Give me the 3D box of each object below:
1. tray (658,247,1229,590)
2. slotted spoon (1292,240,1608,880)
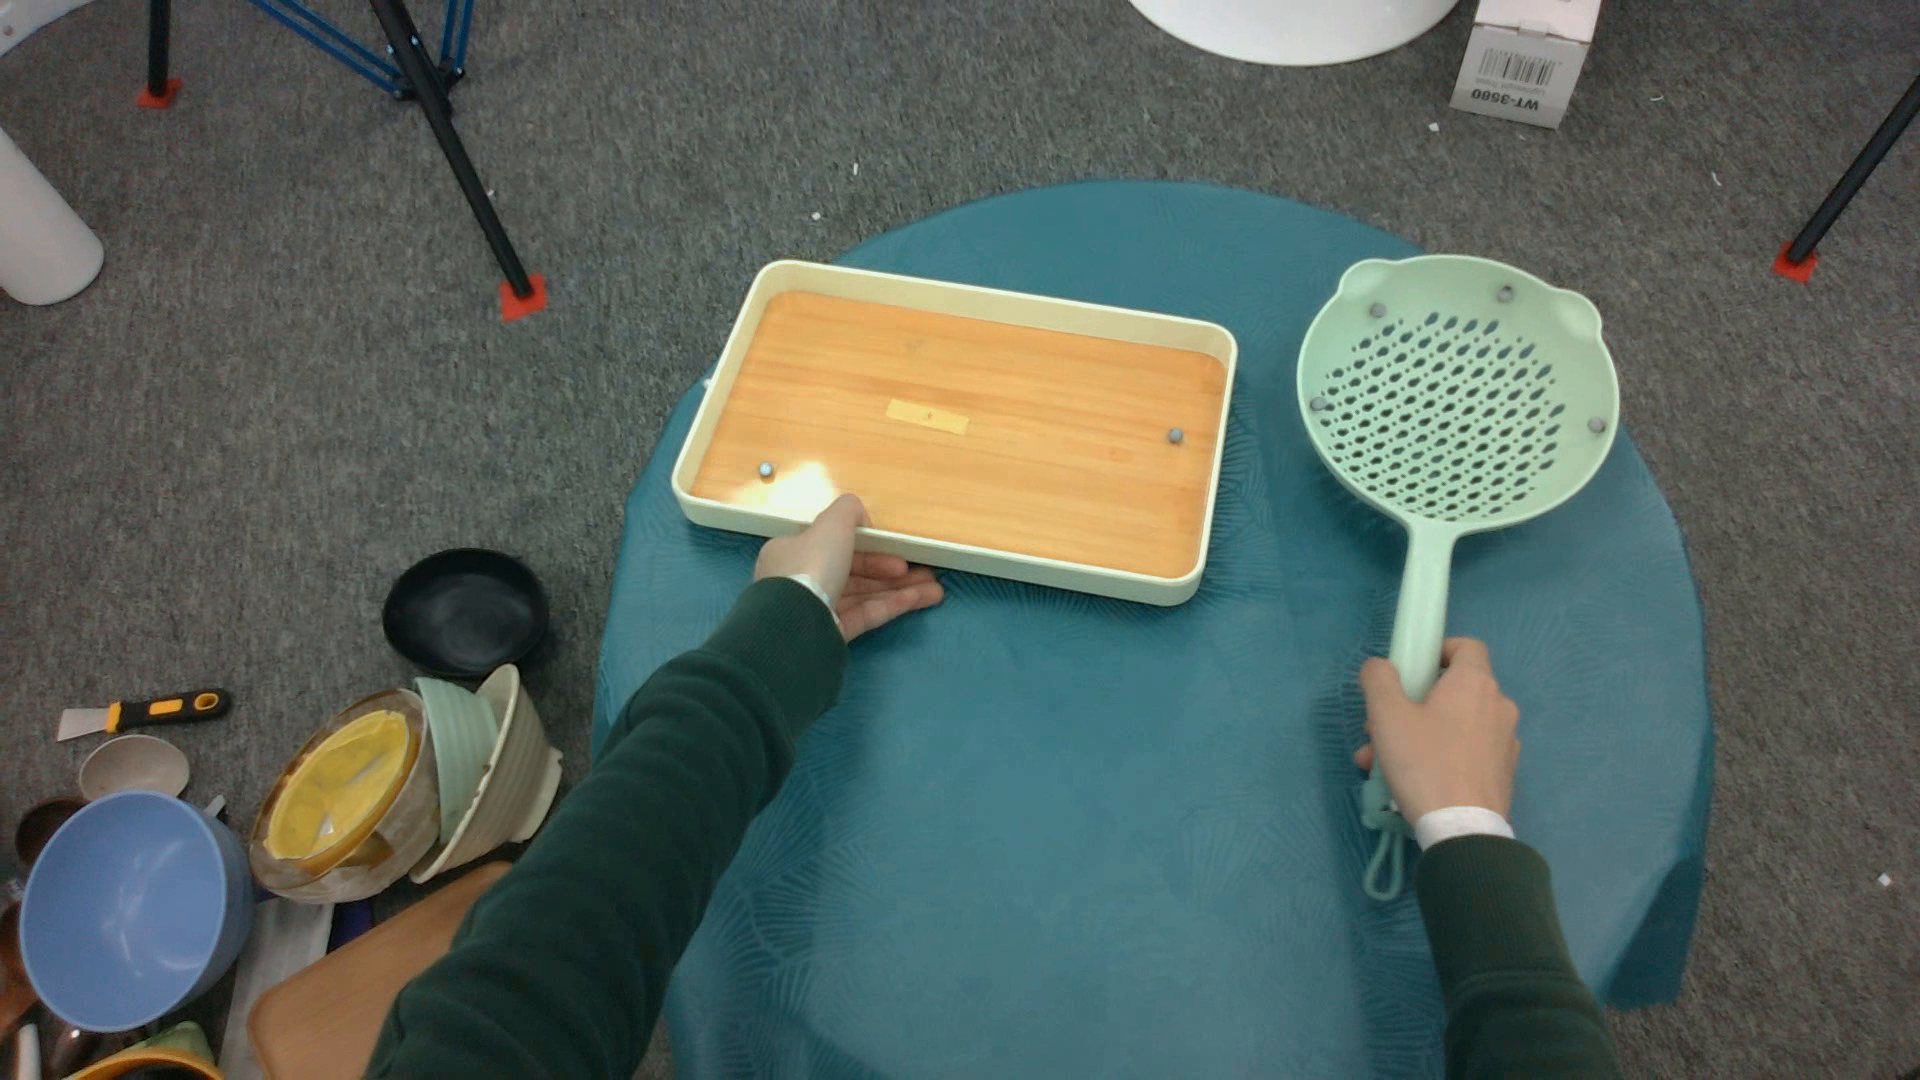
[{"bbox_3d":[-0.004,-0.077,0.795,0.300,0.027,0.192,10,56,8],"label":"tray"},{"bbox_3d":[0.245,-0.003,0.727,0.169,0.075,0.360,11,59,10],"label":"slotted spoon"}]
